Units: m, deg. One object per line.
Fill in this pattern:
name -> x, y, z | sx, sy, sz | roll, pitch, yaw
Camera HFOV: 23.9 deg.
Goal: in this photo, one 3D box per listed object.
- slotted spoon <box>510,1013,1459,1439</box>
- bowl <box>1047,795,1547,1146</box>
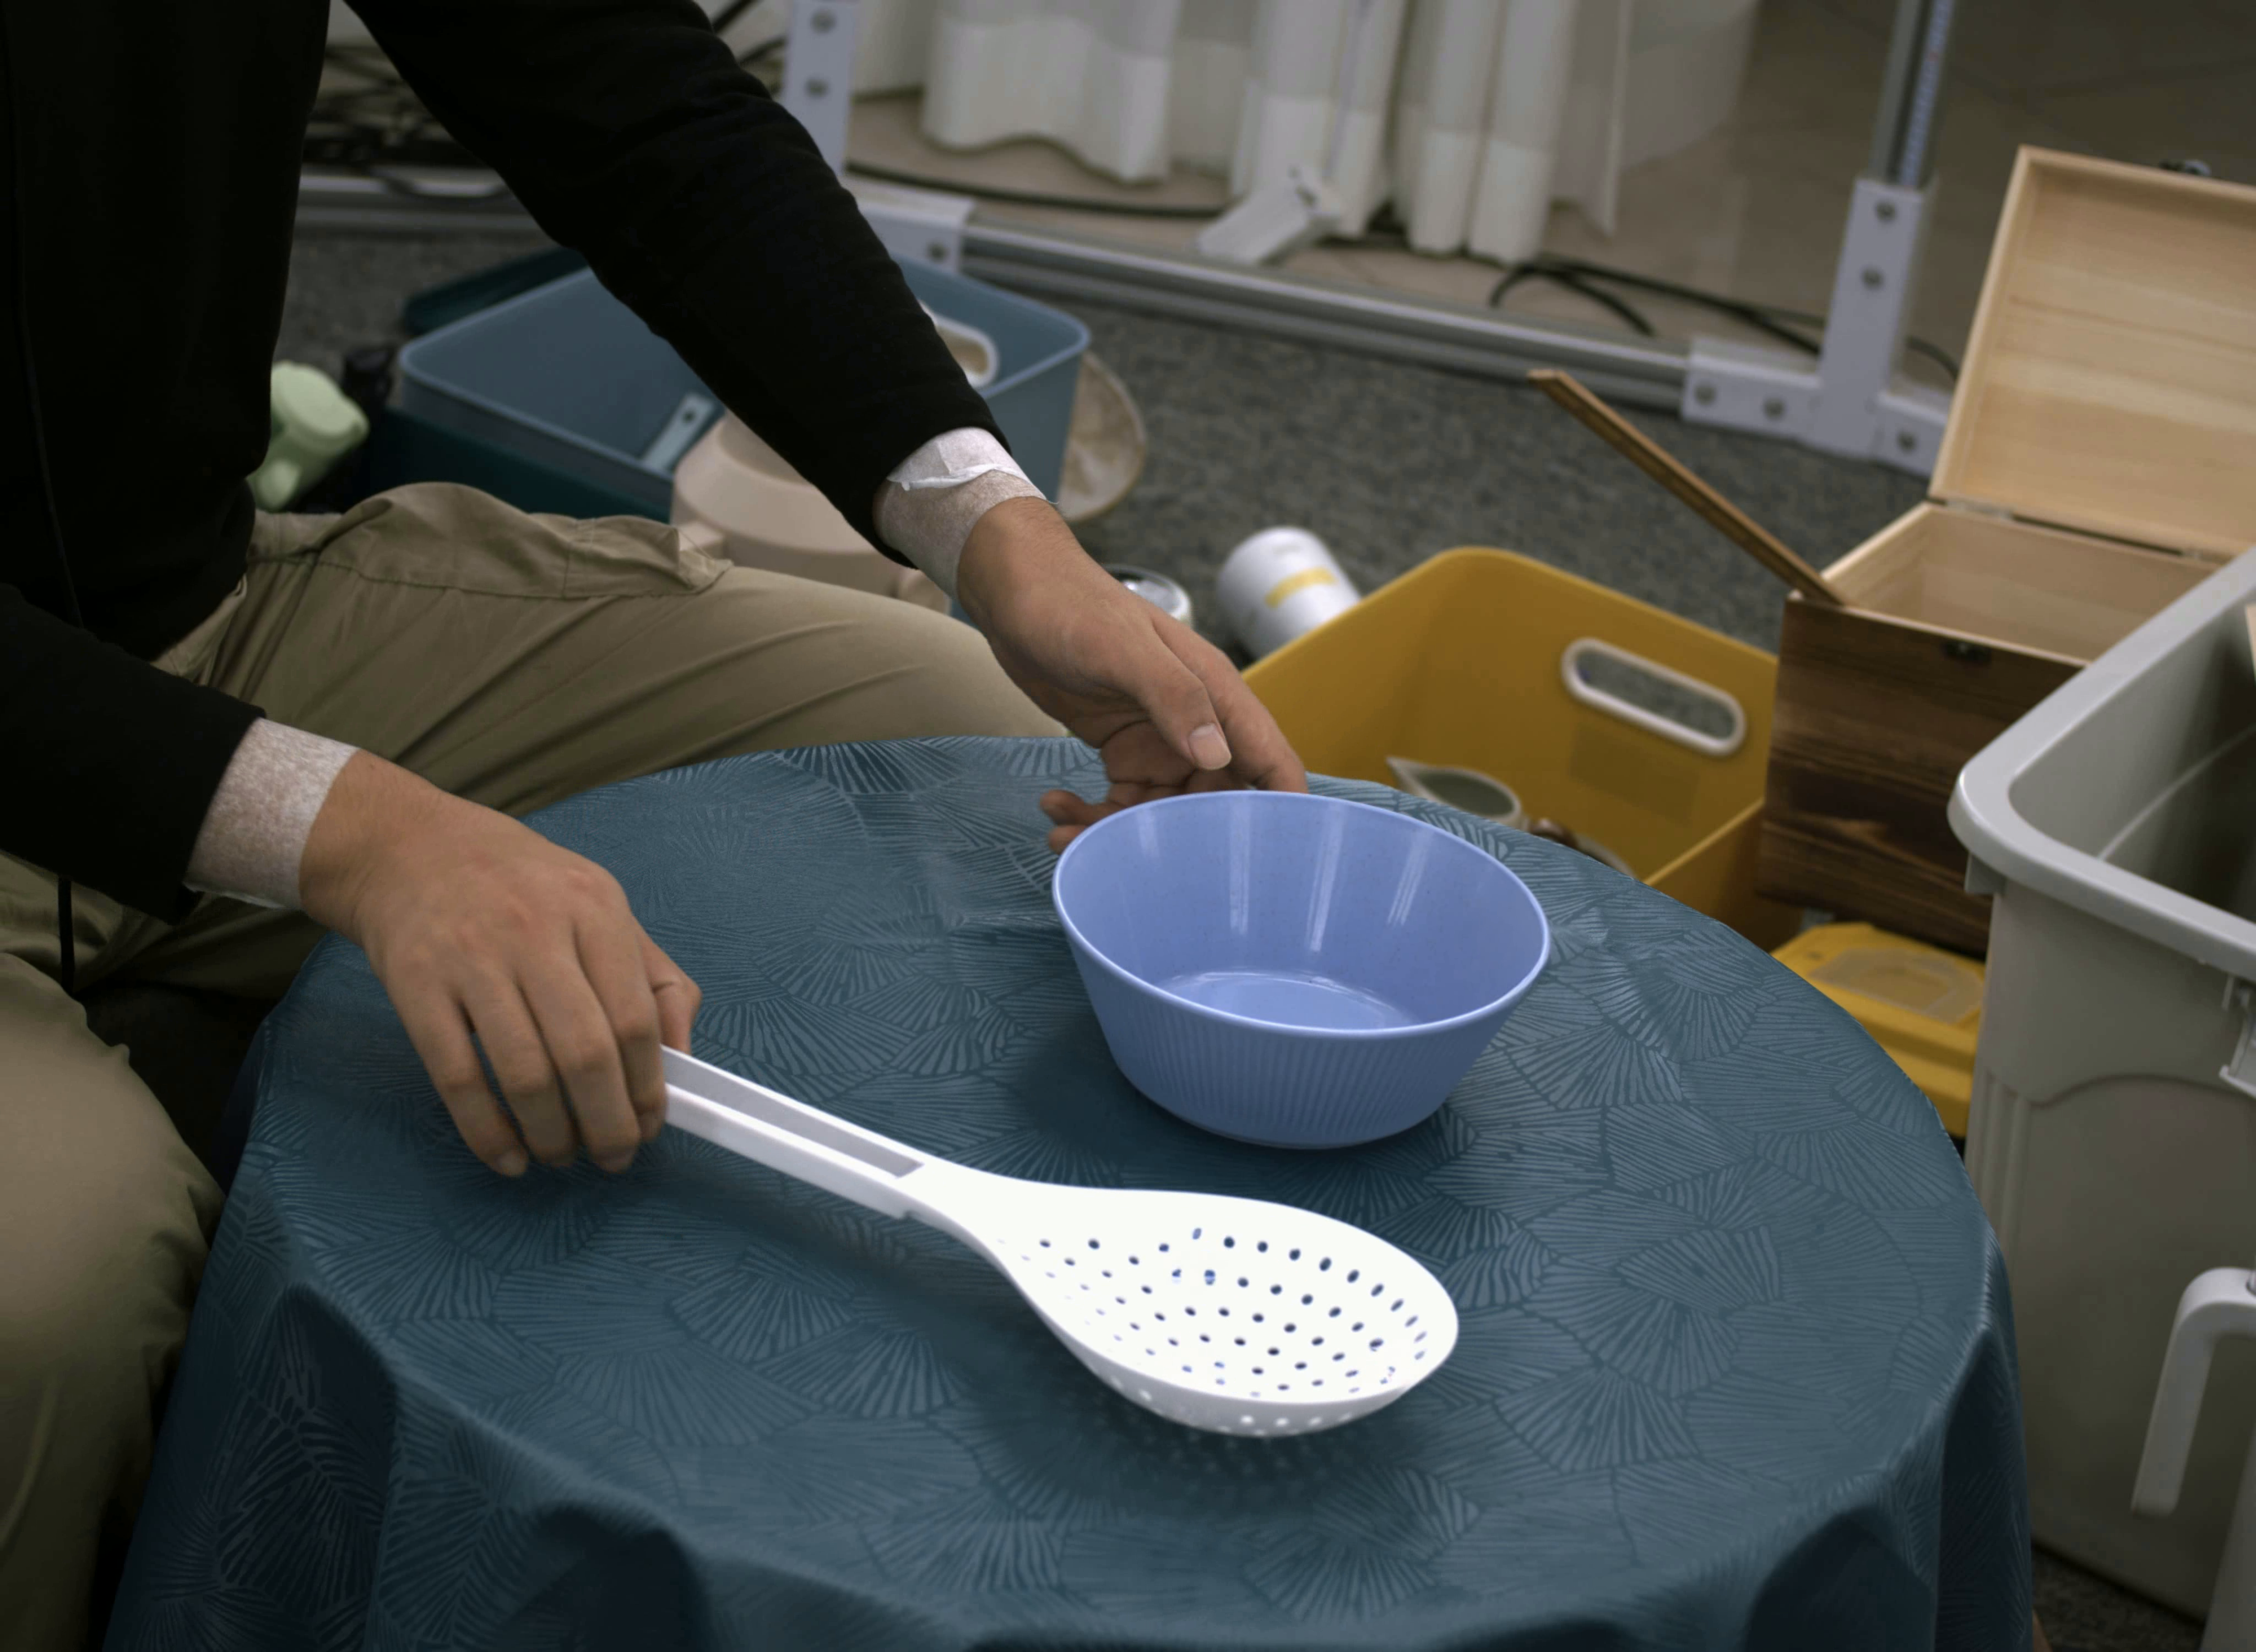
slotted spoon -> -0.056, 0.123, 1.724 | 0.351, 0.045, 0.135 | 23, 27, 24
bowl -> 0.056, 0.056, 1.871 | 0.175, 0.070, 0.177 | 4, 26, -2
